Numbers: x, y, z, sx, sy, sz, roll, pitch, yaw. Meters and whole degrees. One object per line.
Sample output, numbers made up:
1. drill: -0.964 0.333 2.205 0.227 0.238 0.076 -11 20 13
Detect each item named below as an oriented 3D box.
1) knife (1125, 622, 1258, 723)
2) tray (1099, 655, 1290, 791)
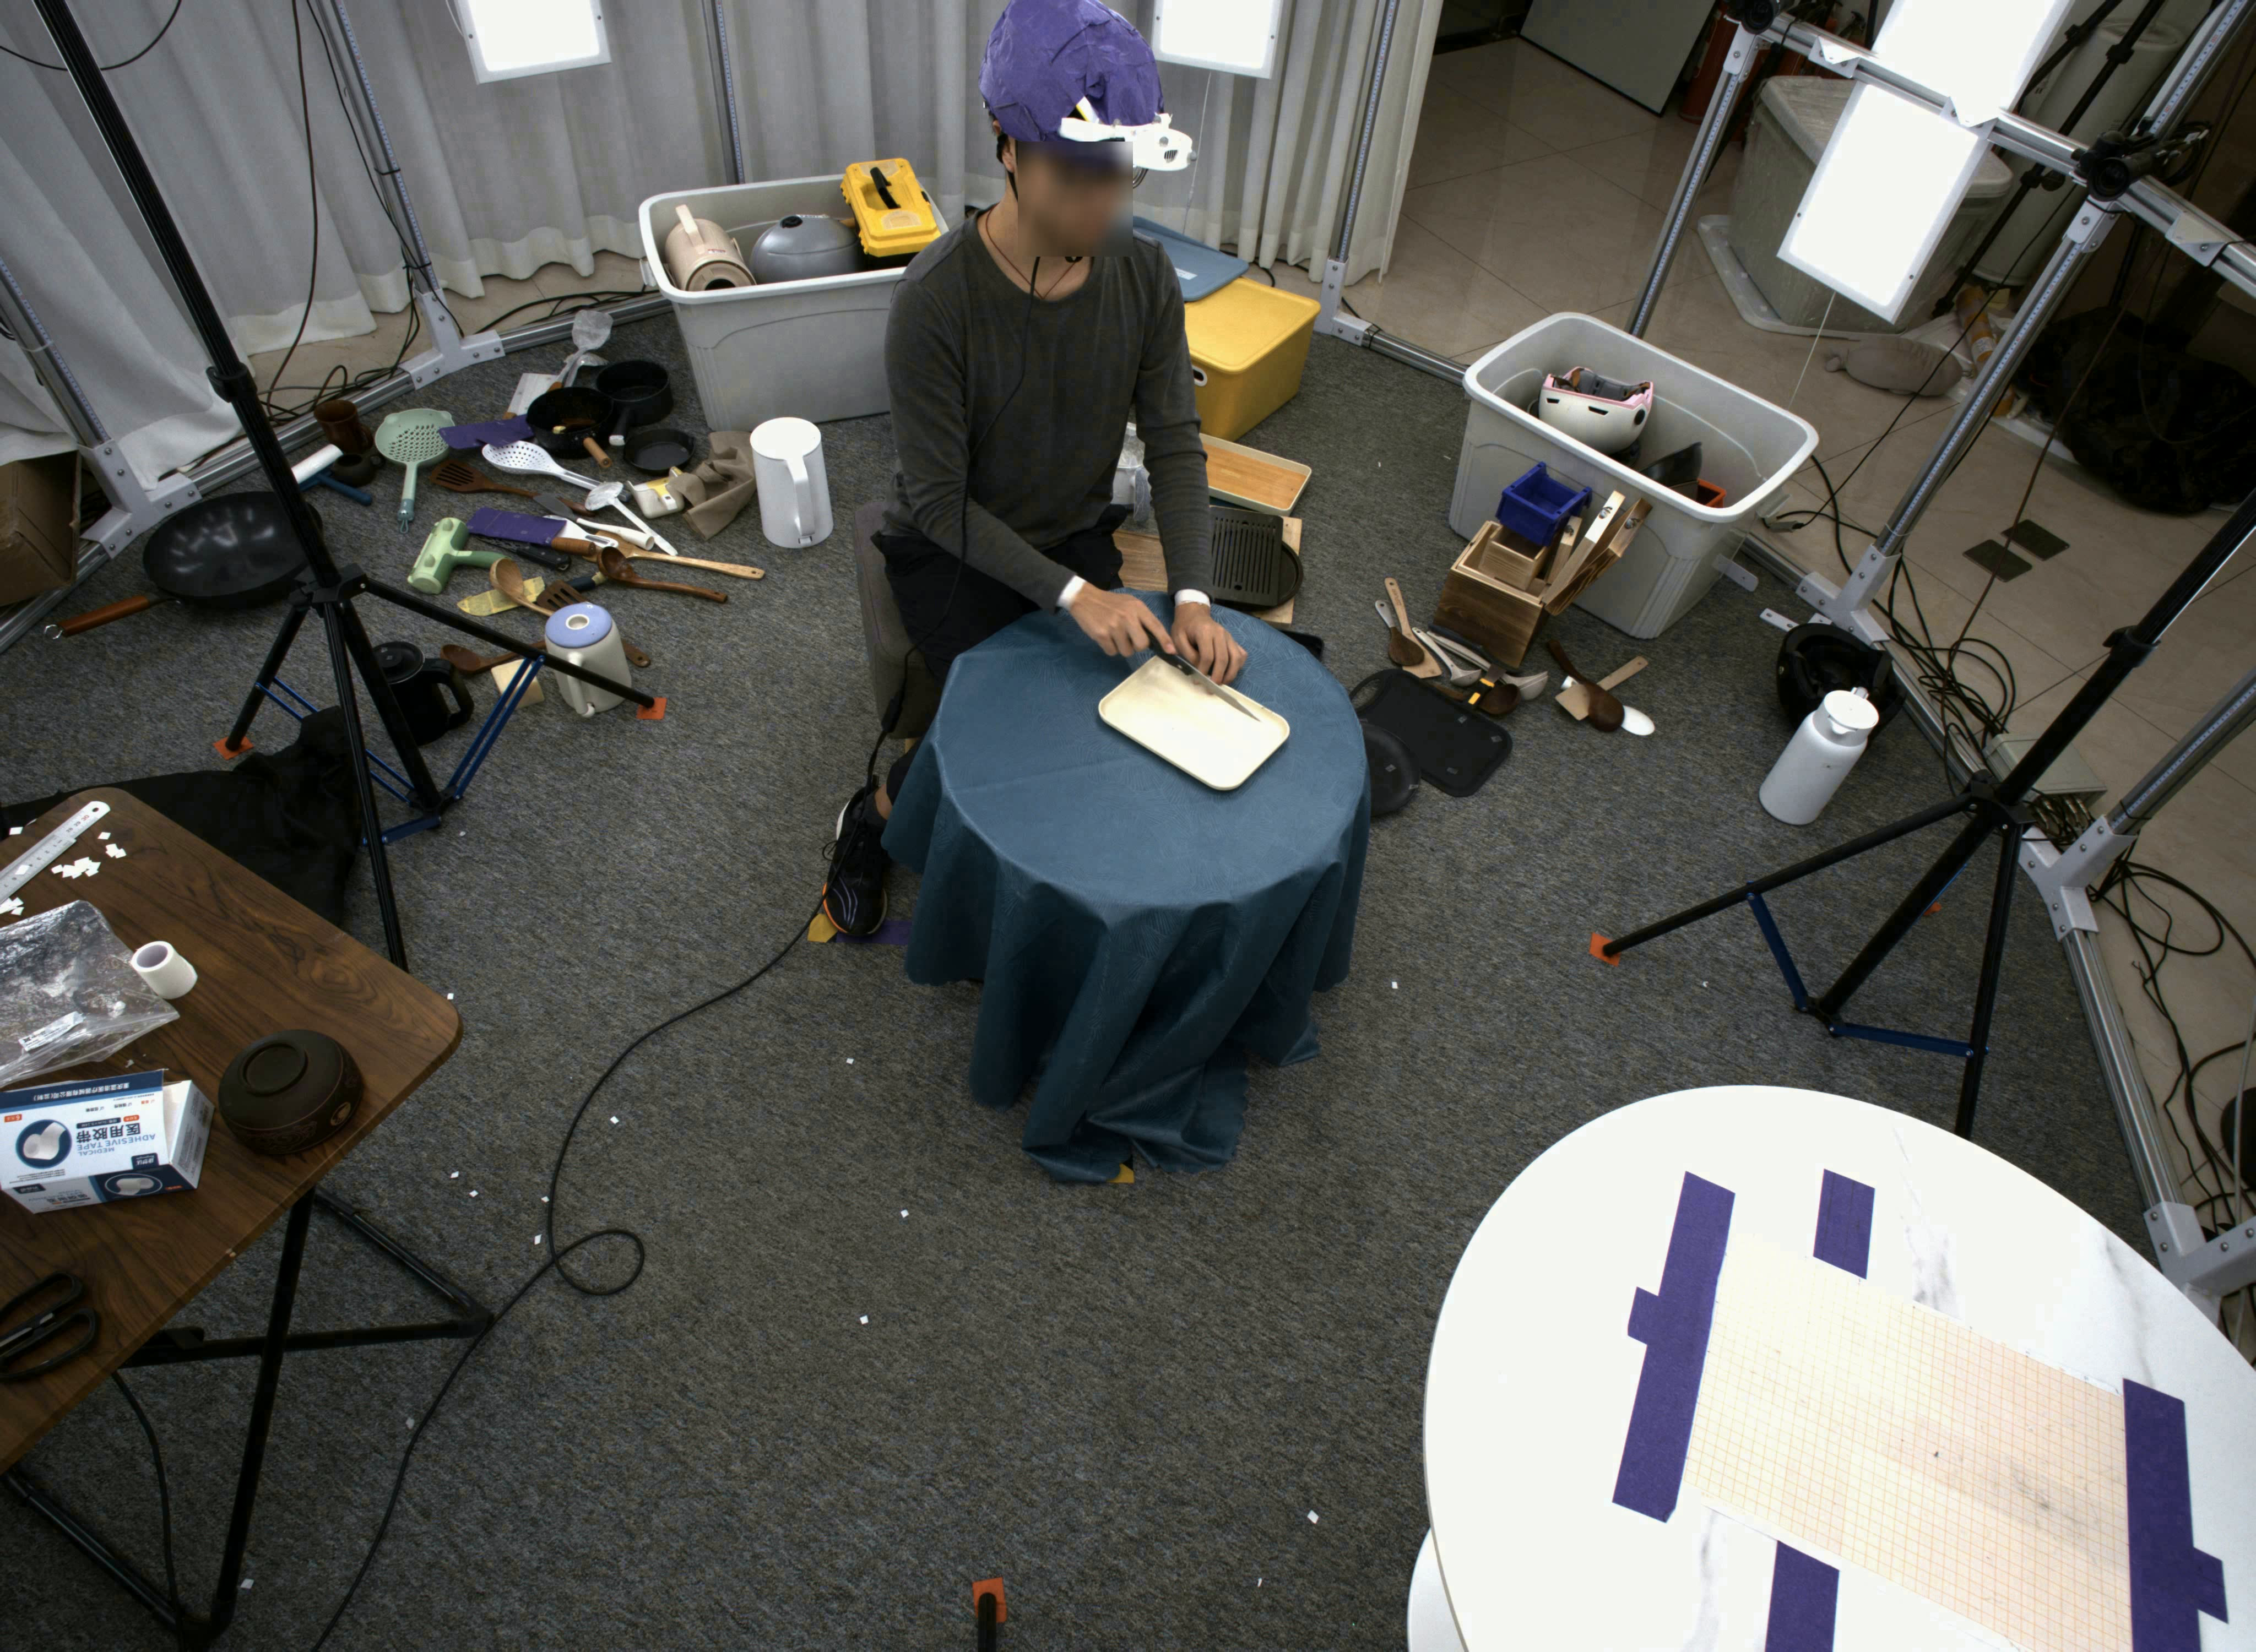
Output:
1. knife: 0.089 -0.215 1.790 0.240 0.024 0.016 39 64 16
2. tray: 0.091 -0.146 1.789 0.242 0.017 0.173 33 55 23
